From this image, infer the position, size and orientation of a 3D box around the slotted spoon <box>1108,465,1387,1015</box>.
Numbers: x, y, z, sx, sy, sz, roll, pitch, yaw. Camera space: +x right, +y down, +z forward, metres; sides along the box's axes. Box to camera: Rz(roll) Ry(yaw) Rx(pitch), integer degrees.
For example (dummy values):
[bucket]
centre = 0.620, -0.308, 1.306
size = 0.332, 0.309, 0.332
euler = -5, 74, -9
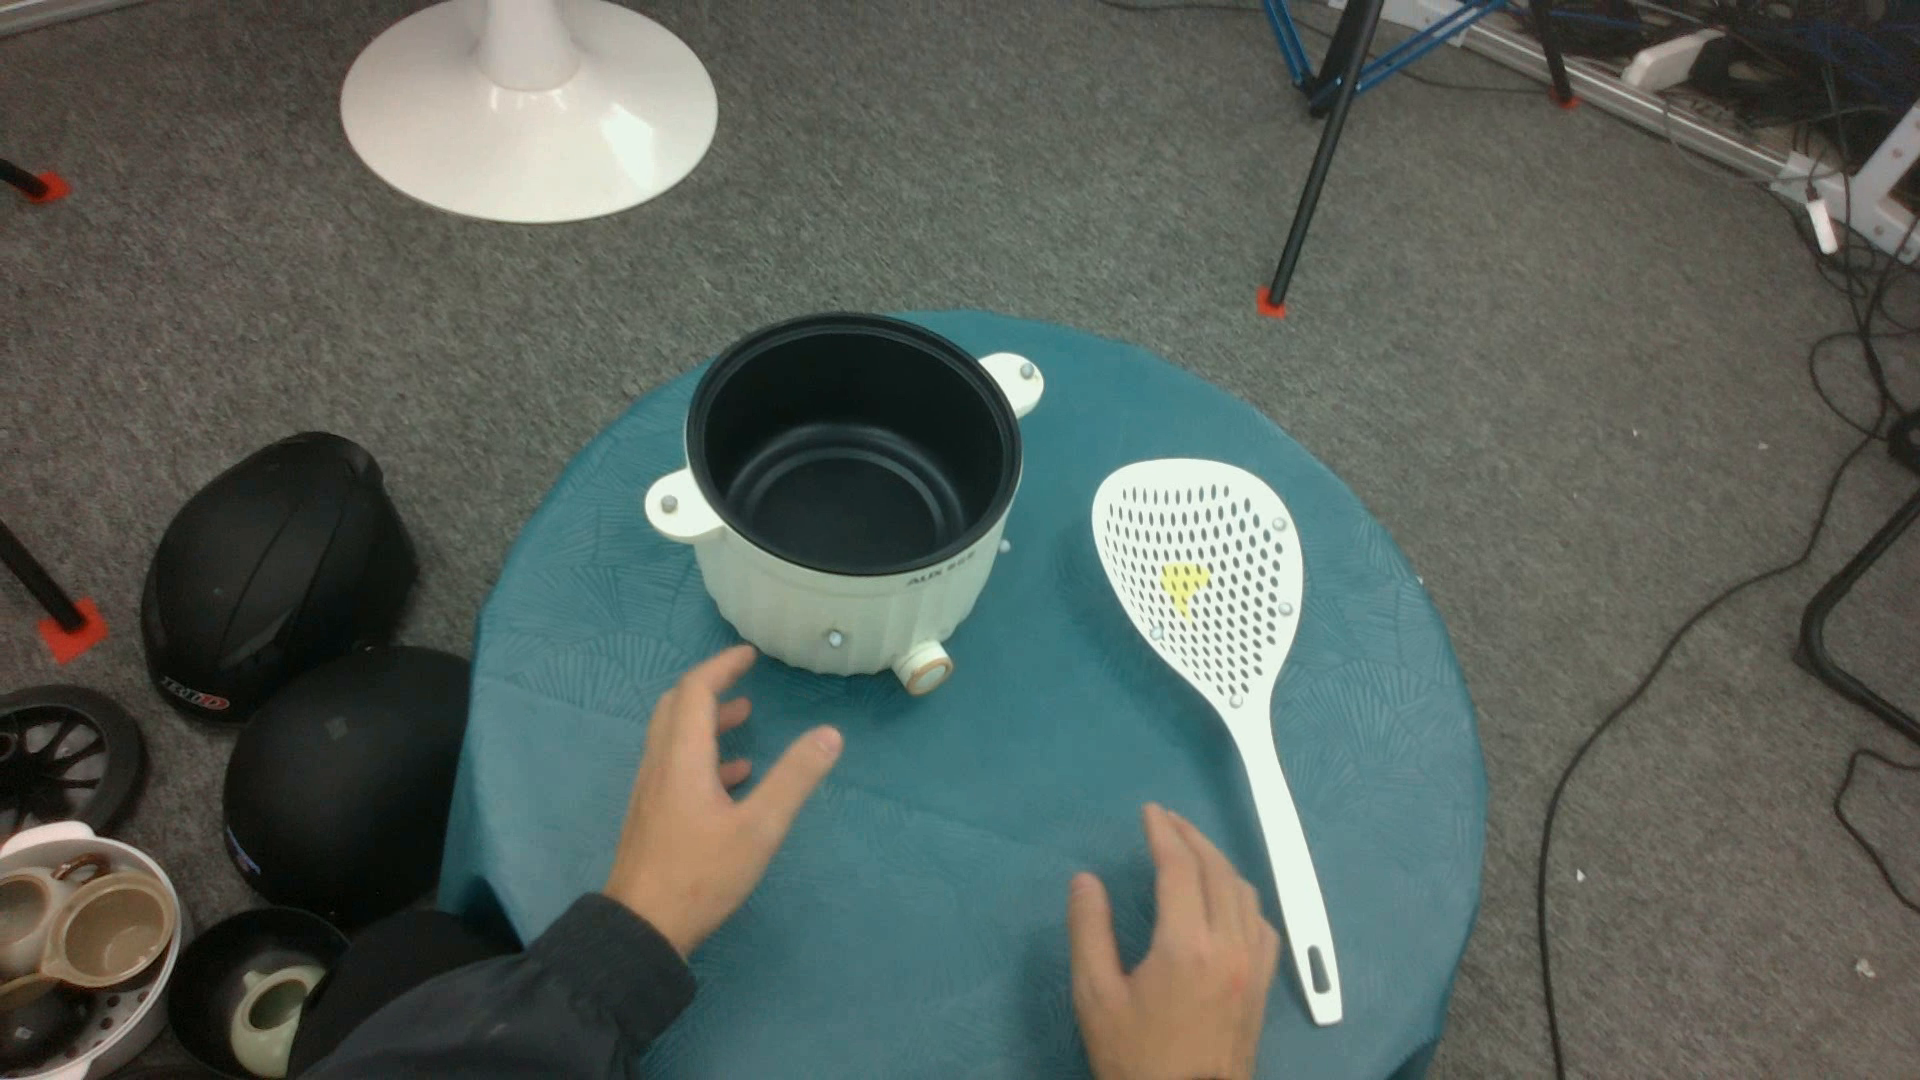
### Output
[slotted spoon]
centre = 0.181, 0.102, 0.815
size = 0.137, 0.050, 0.349
euler = -5, 53, -13

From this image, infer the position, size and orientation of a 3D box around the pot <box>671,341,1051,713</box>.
[pot]
centre = -0.050, 0.000, 0.804
size = 0.241, 0.142, 0.191
euler = -27, 58, -23
